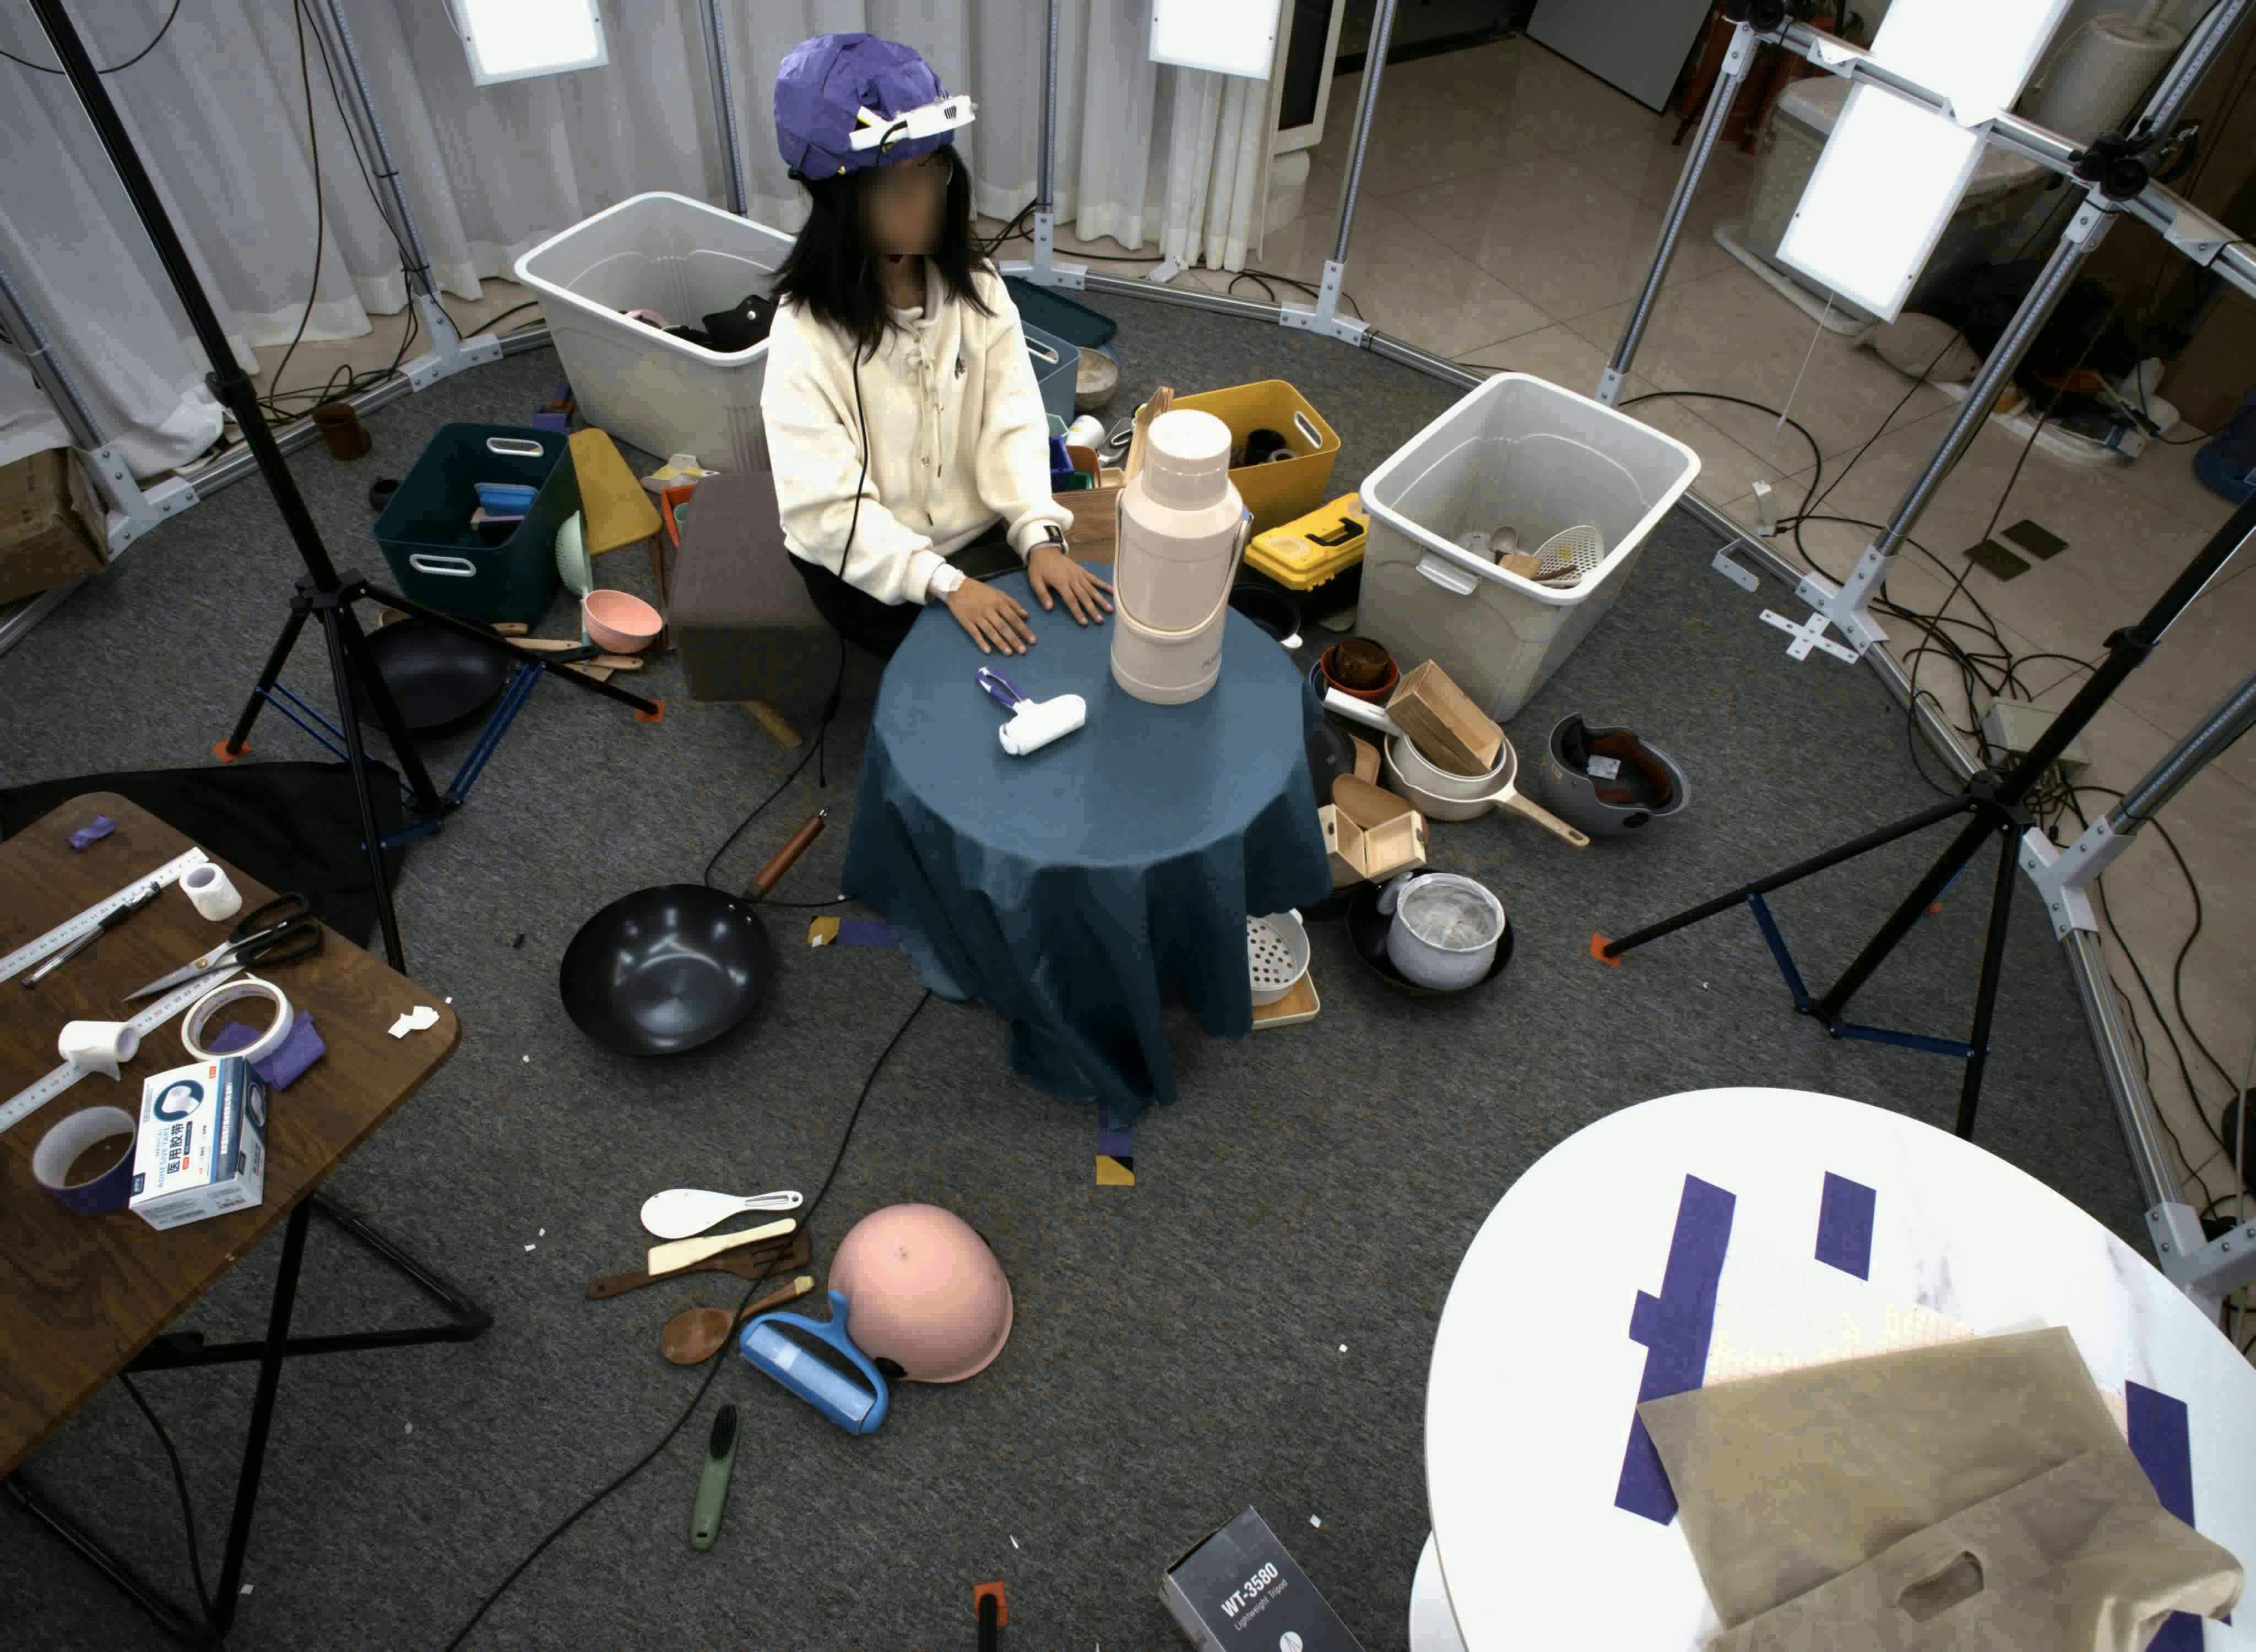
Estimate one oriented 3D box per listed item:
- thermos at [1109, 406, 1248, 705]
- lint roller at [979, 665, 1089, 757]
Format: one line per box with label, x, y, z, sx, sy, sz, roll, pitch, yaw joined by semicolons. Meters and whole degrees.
thermos;0.070;-0.367;1.738;0.176;0.396;0.211;17;50;10
lint roller;-0.150;-0.180;1.785;0.133;0.049;0.184;-27;59;-23
